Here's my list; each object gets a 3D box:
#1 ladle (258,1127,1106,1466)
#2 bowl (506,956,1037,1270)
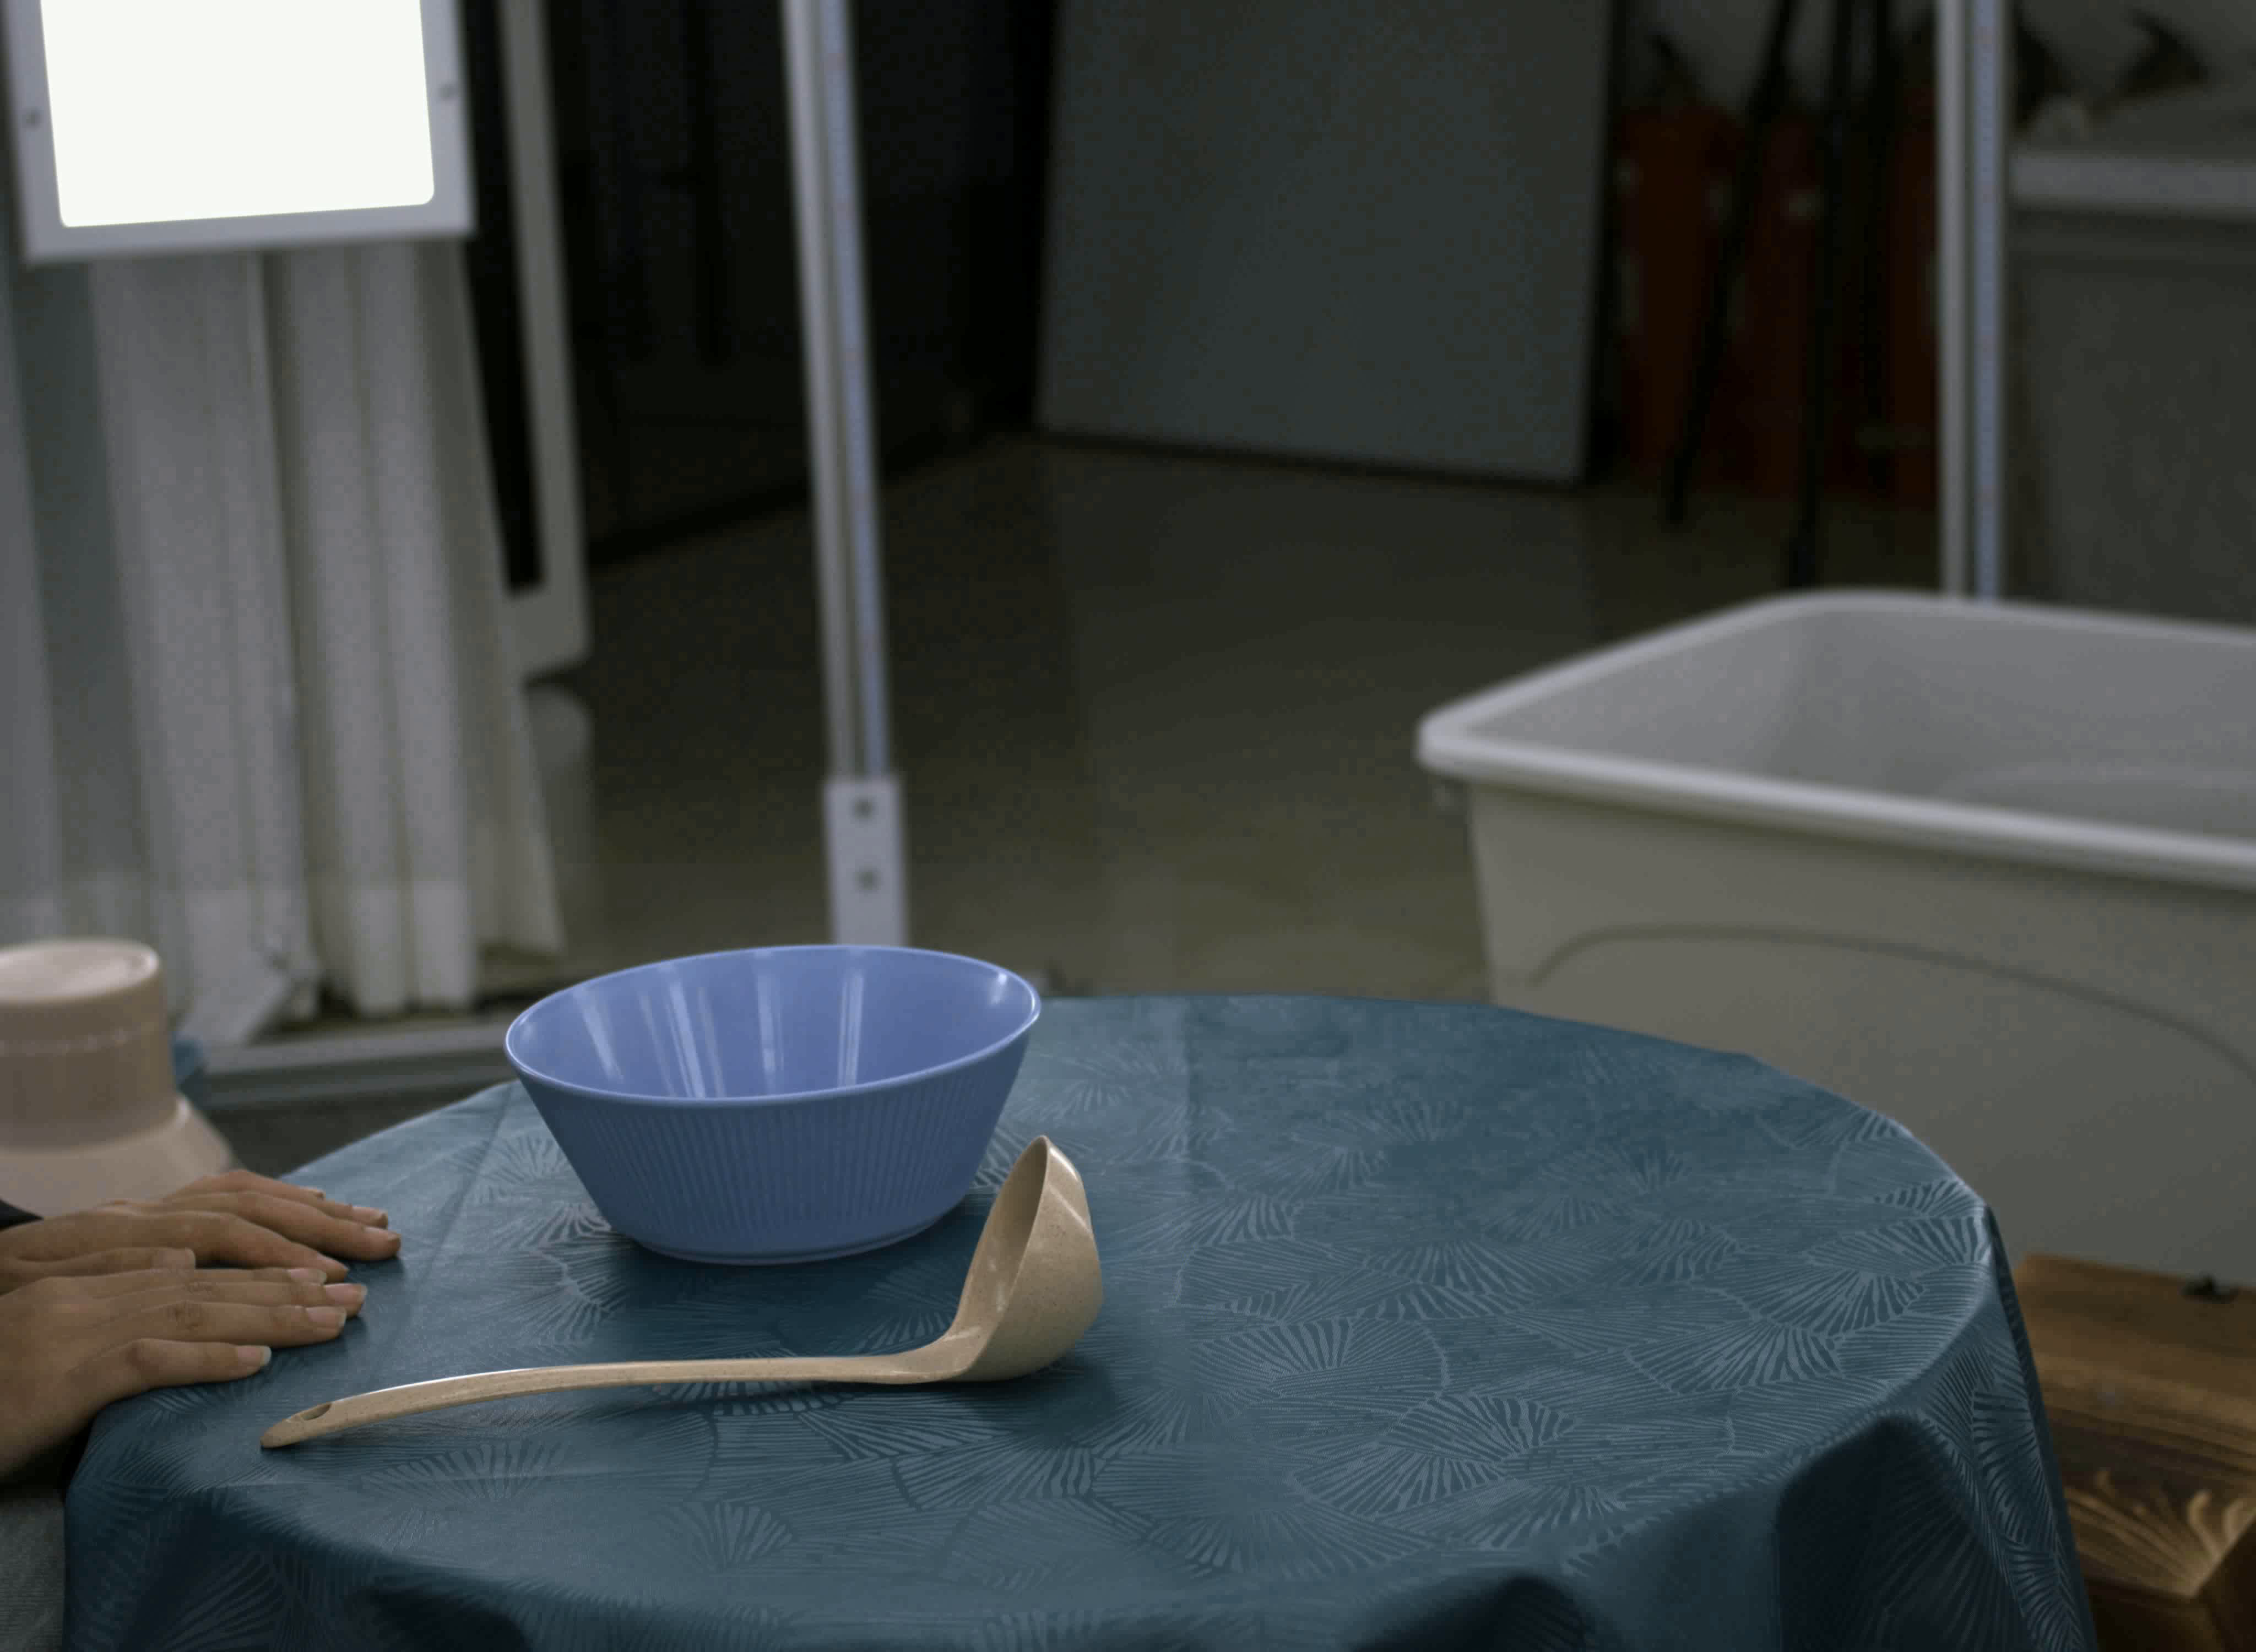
[{"bbox_3d":[-0.132,0.137,1.589,0.250,0.073,0.072,-6,13,-7],"label":"ladle"},{"bbox_3d":[-0.113,0.096,1.761,0.174,0.071,0.176,-4,13,0],"label":"bowl"}]
